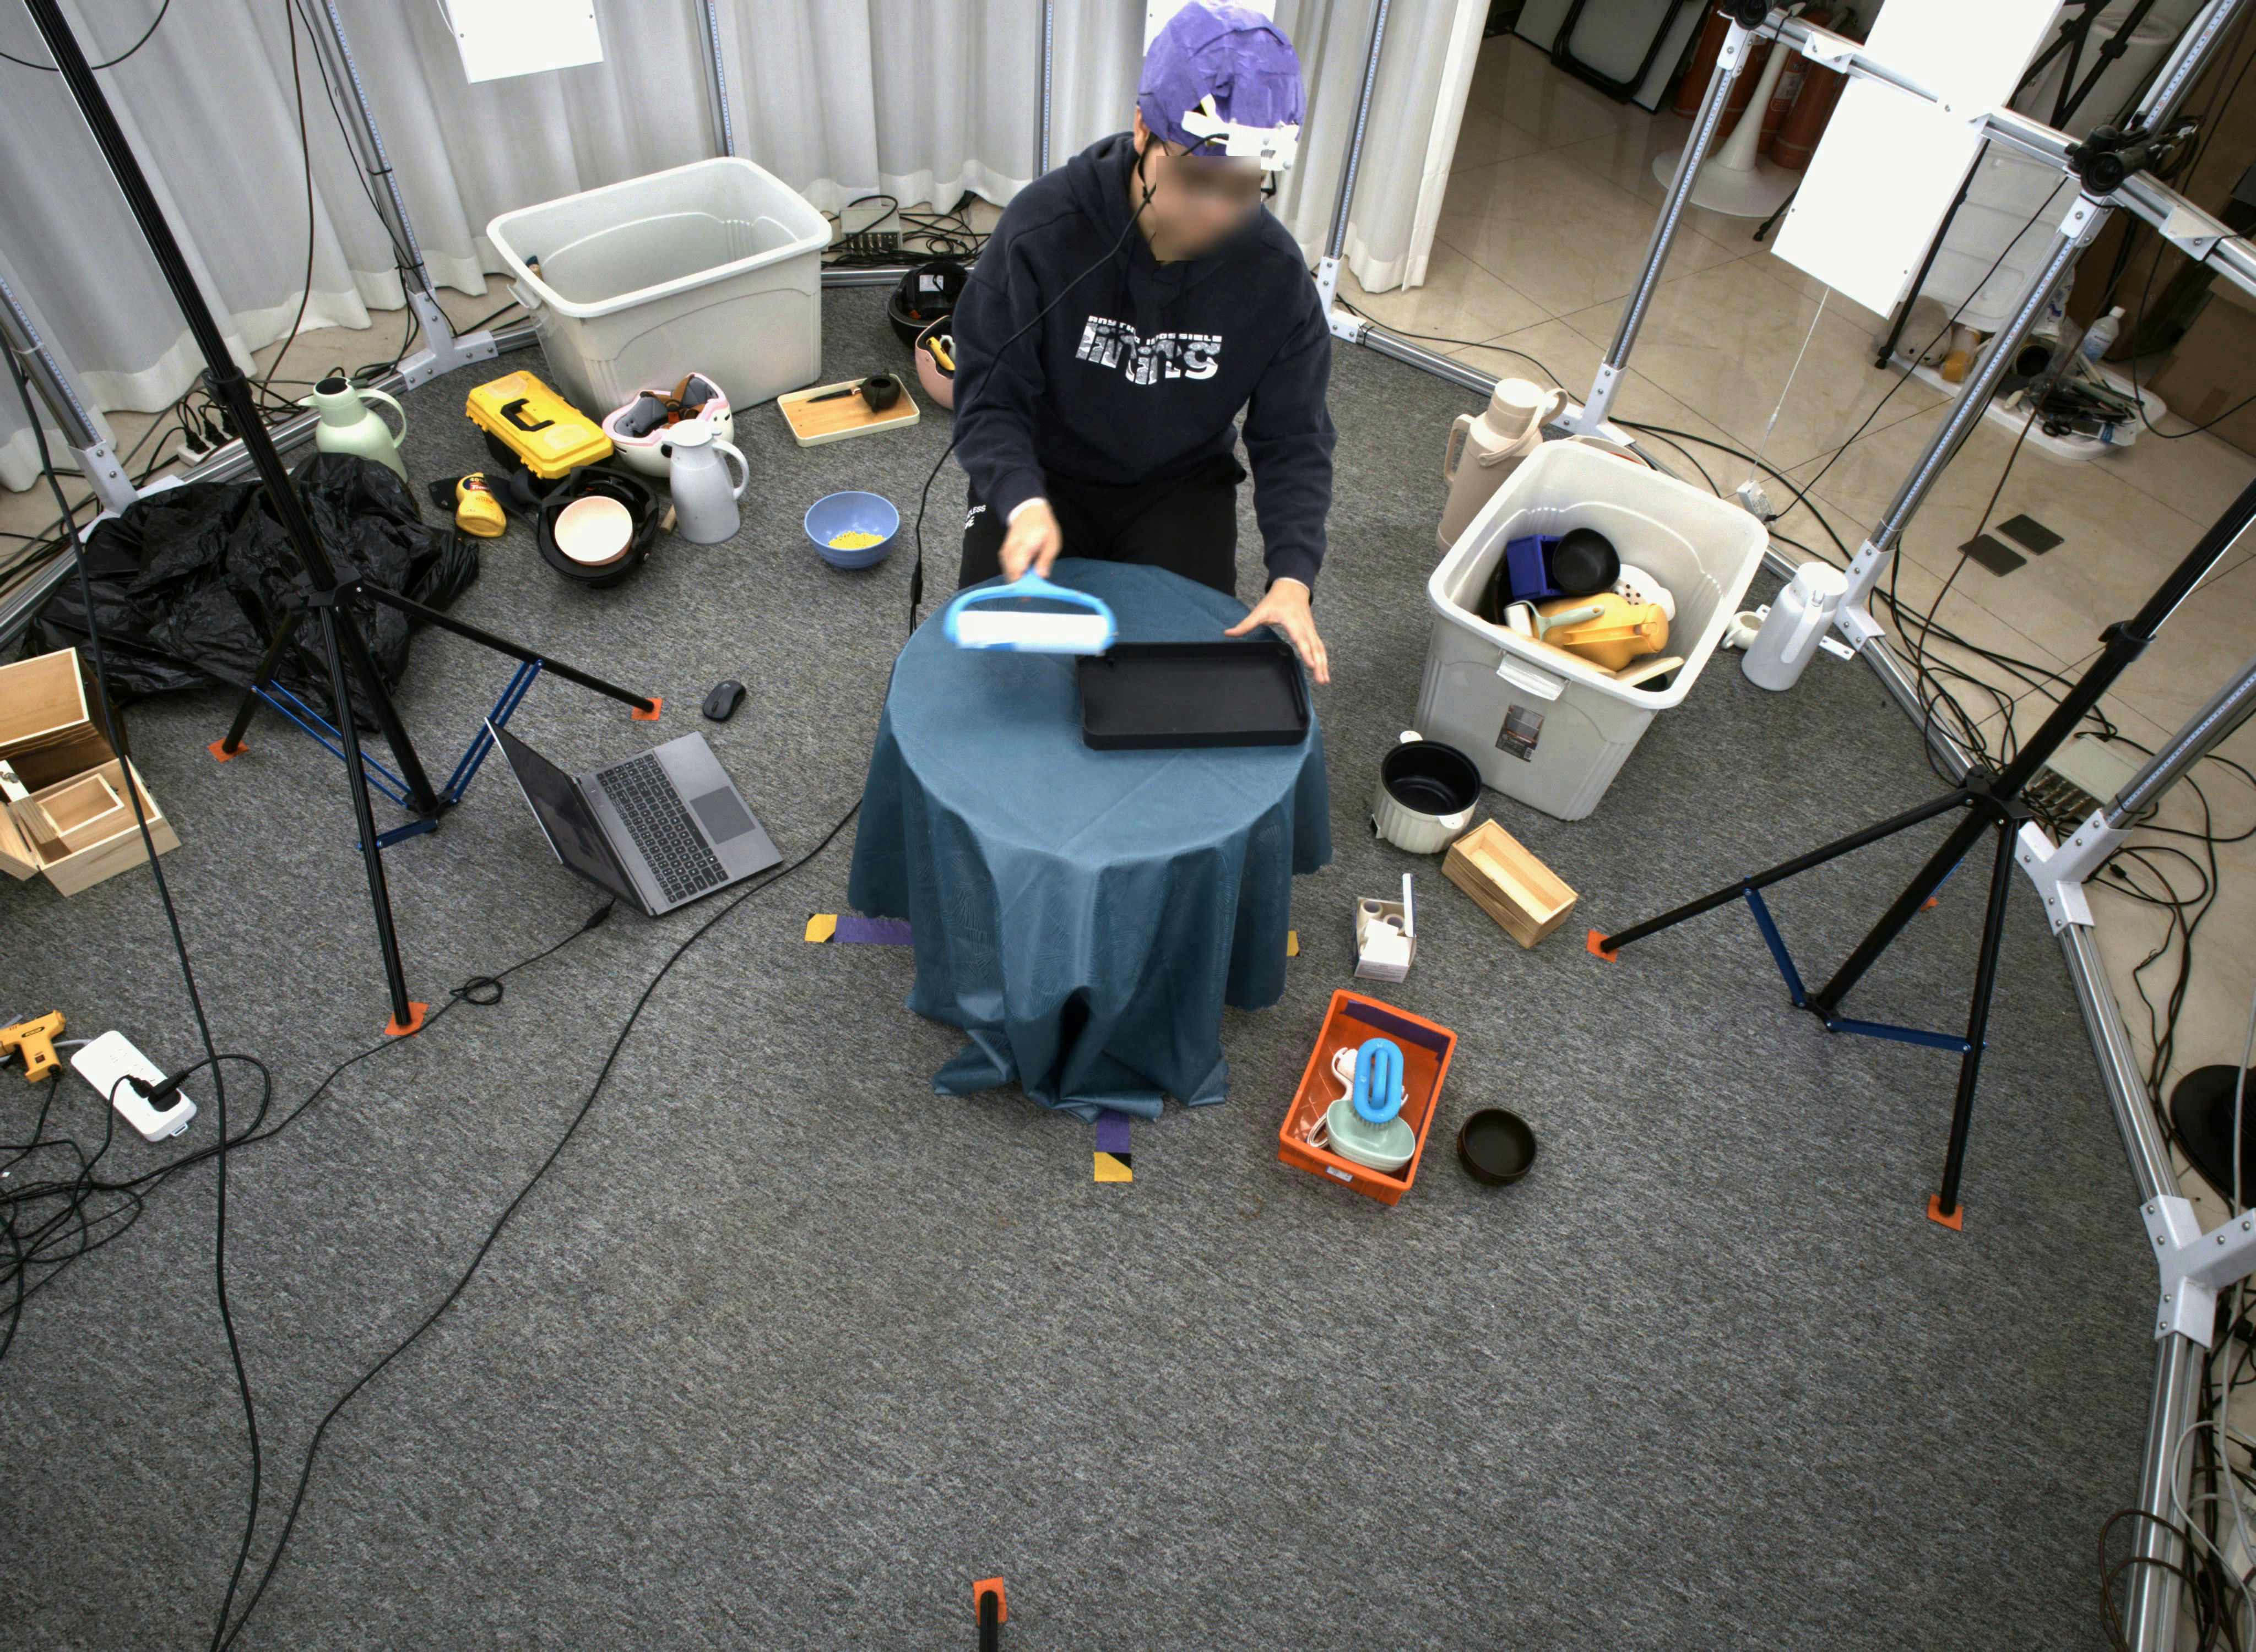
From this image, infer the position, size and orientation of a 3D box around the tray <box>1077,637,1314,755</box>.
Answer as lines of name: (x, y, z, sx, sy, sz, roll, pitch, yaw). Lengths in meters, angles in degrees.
tray: (0.092, -0.186, 1.815, 0.317, 0.036, 0.189, -4, 49, -5)

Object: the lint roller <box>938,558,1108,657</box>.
lint roller: (-0.145, -0.313, 1.769, 0.228, 0.066, 0.184, -1, 62, -4)
